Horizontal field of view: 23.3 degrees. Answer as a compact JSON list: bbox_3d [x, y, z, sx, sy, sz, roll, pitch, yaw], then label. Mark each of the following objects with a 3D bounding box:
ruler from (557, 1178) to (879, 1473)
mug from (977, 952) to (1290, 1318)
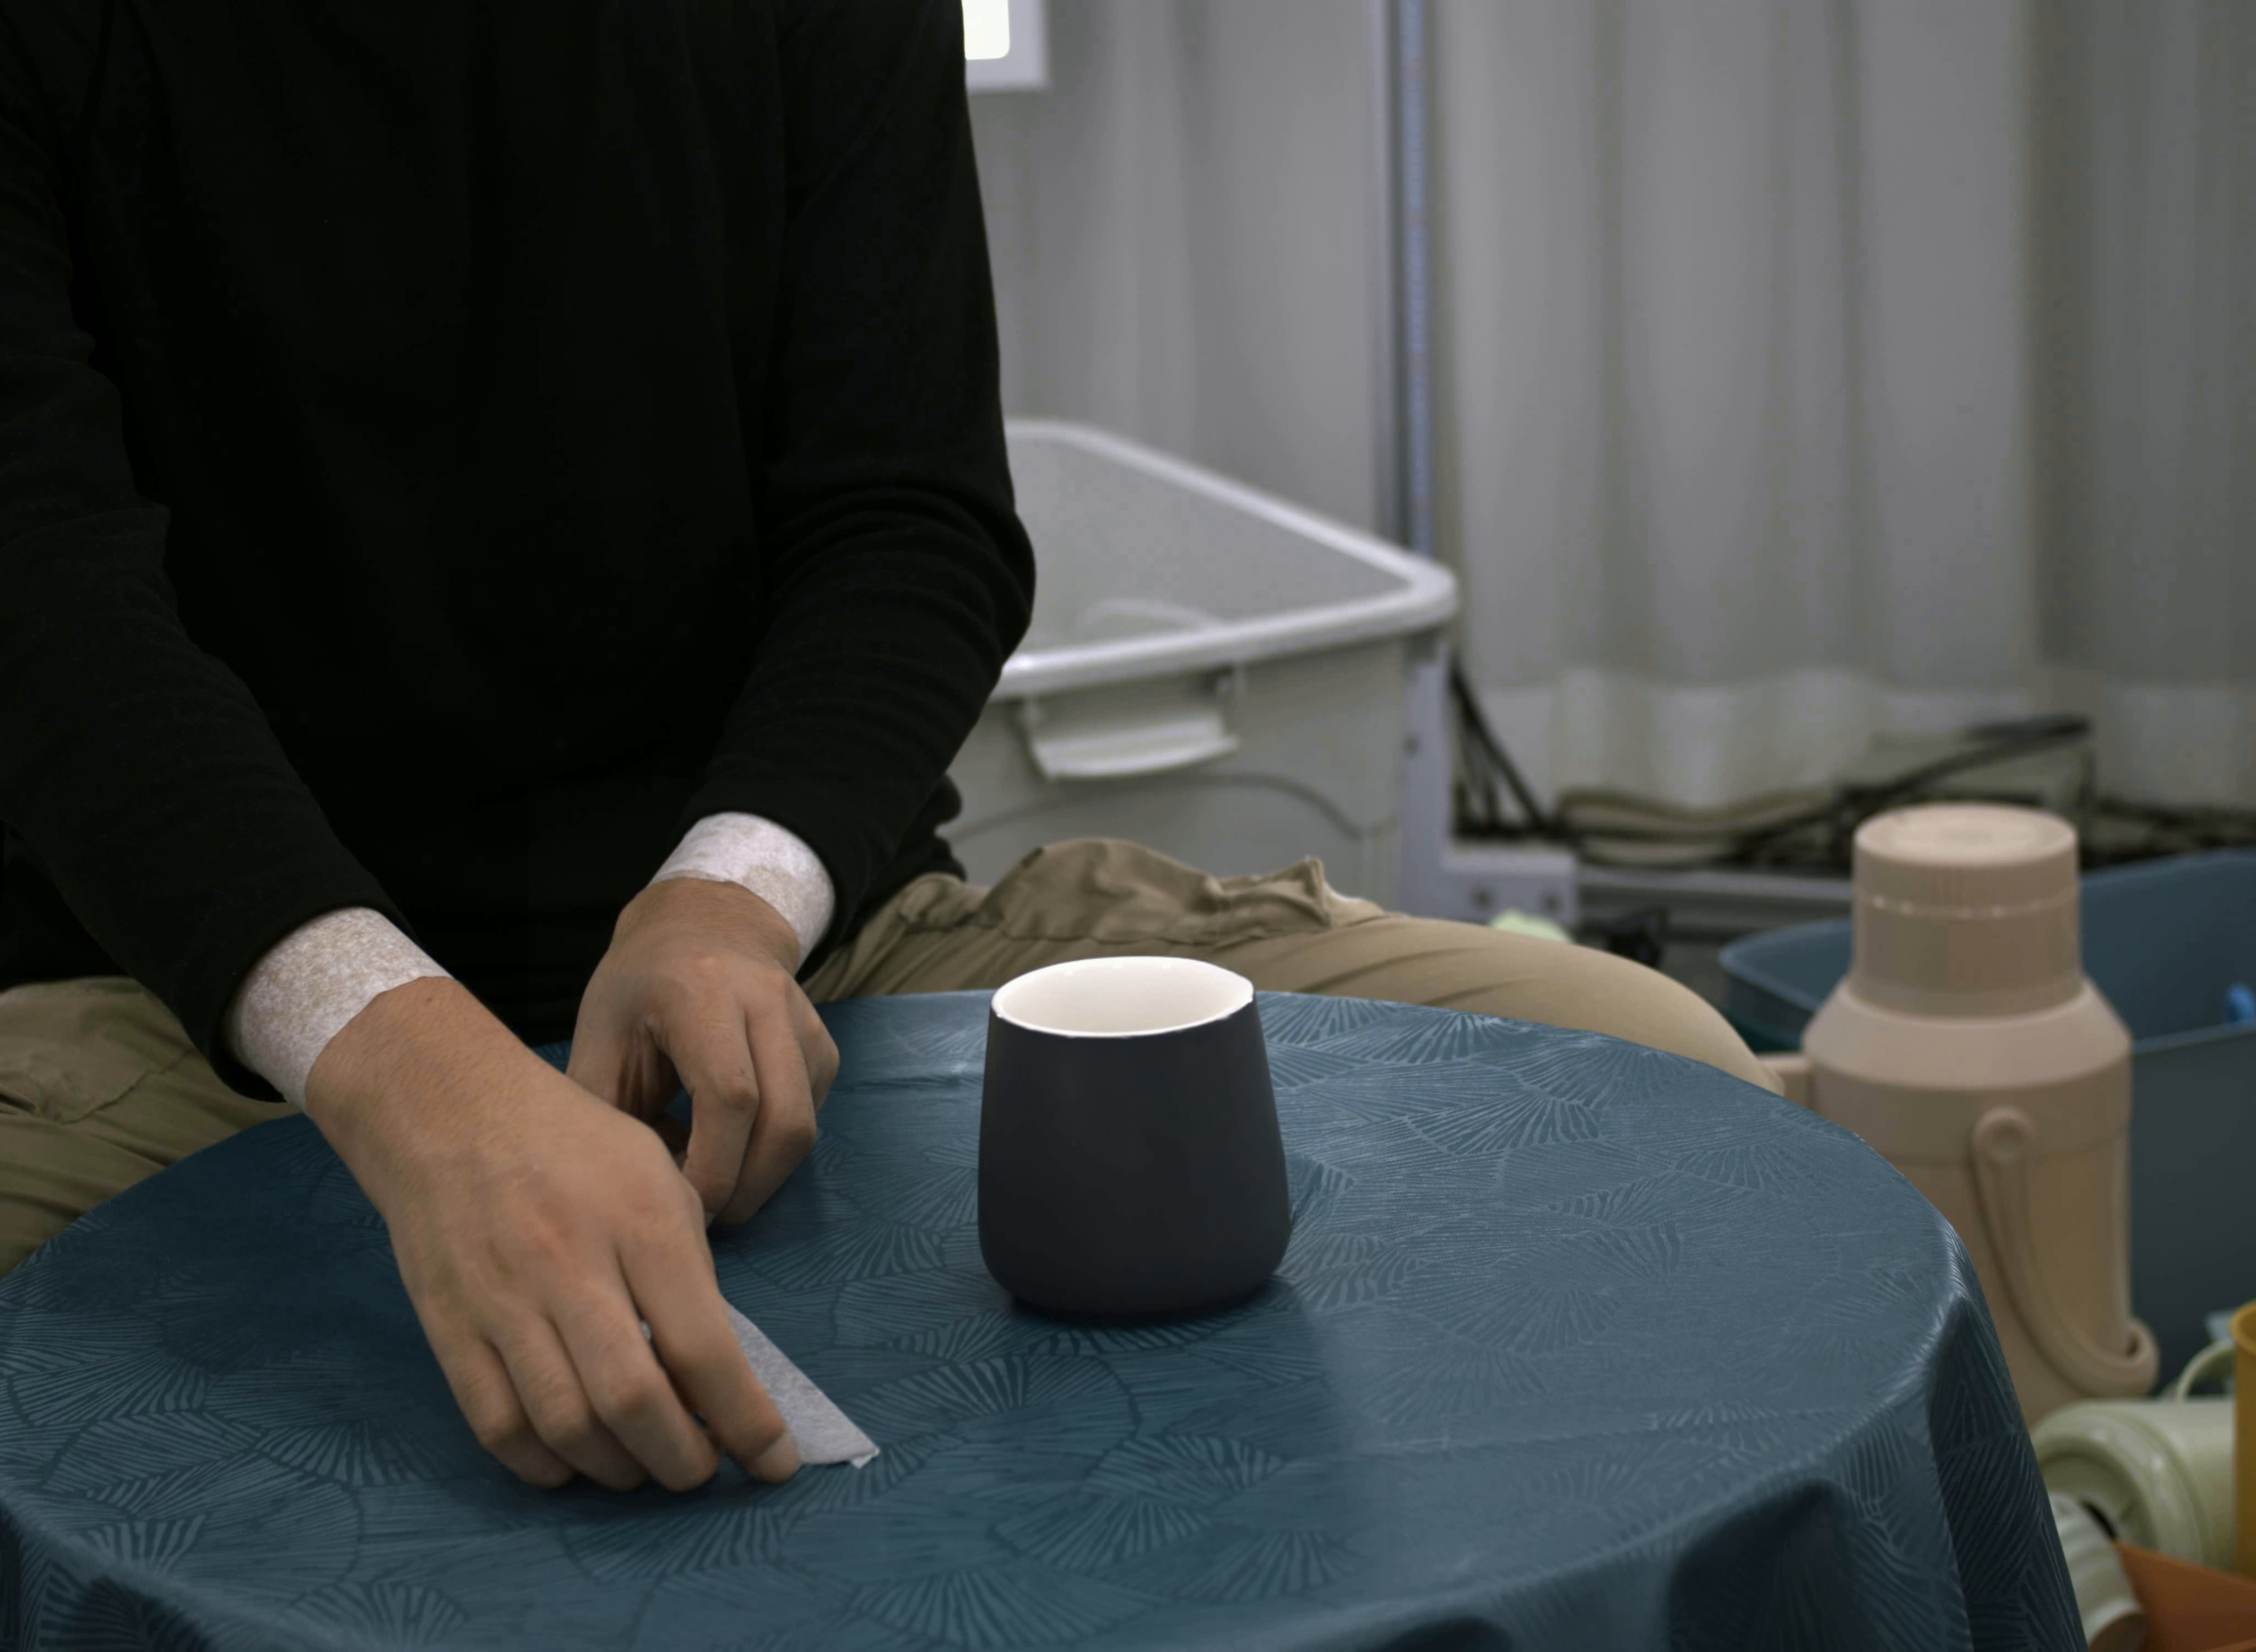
[{"bbox_3d":[-0.125,0.142,1.591,0.038,0.024,0.220,-14,16,-18],"label":"ruler"},{"bbox_3d":[-0.004,0.088,1.635,0.093,0.089,0.124,-7,16,-18],"label":"mug"}]
